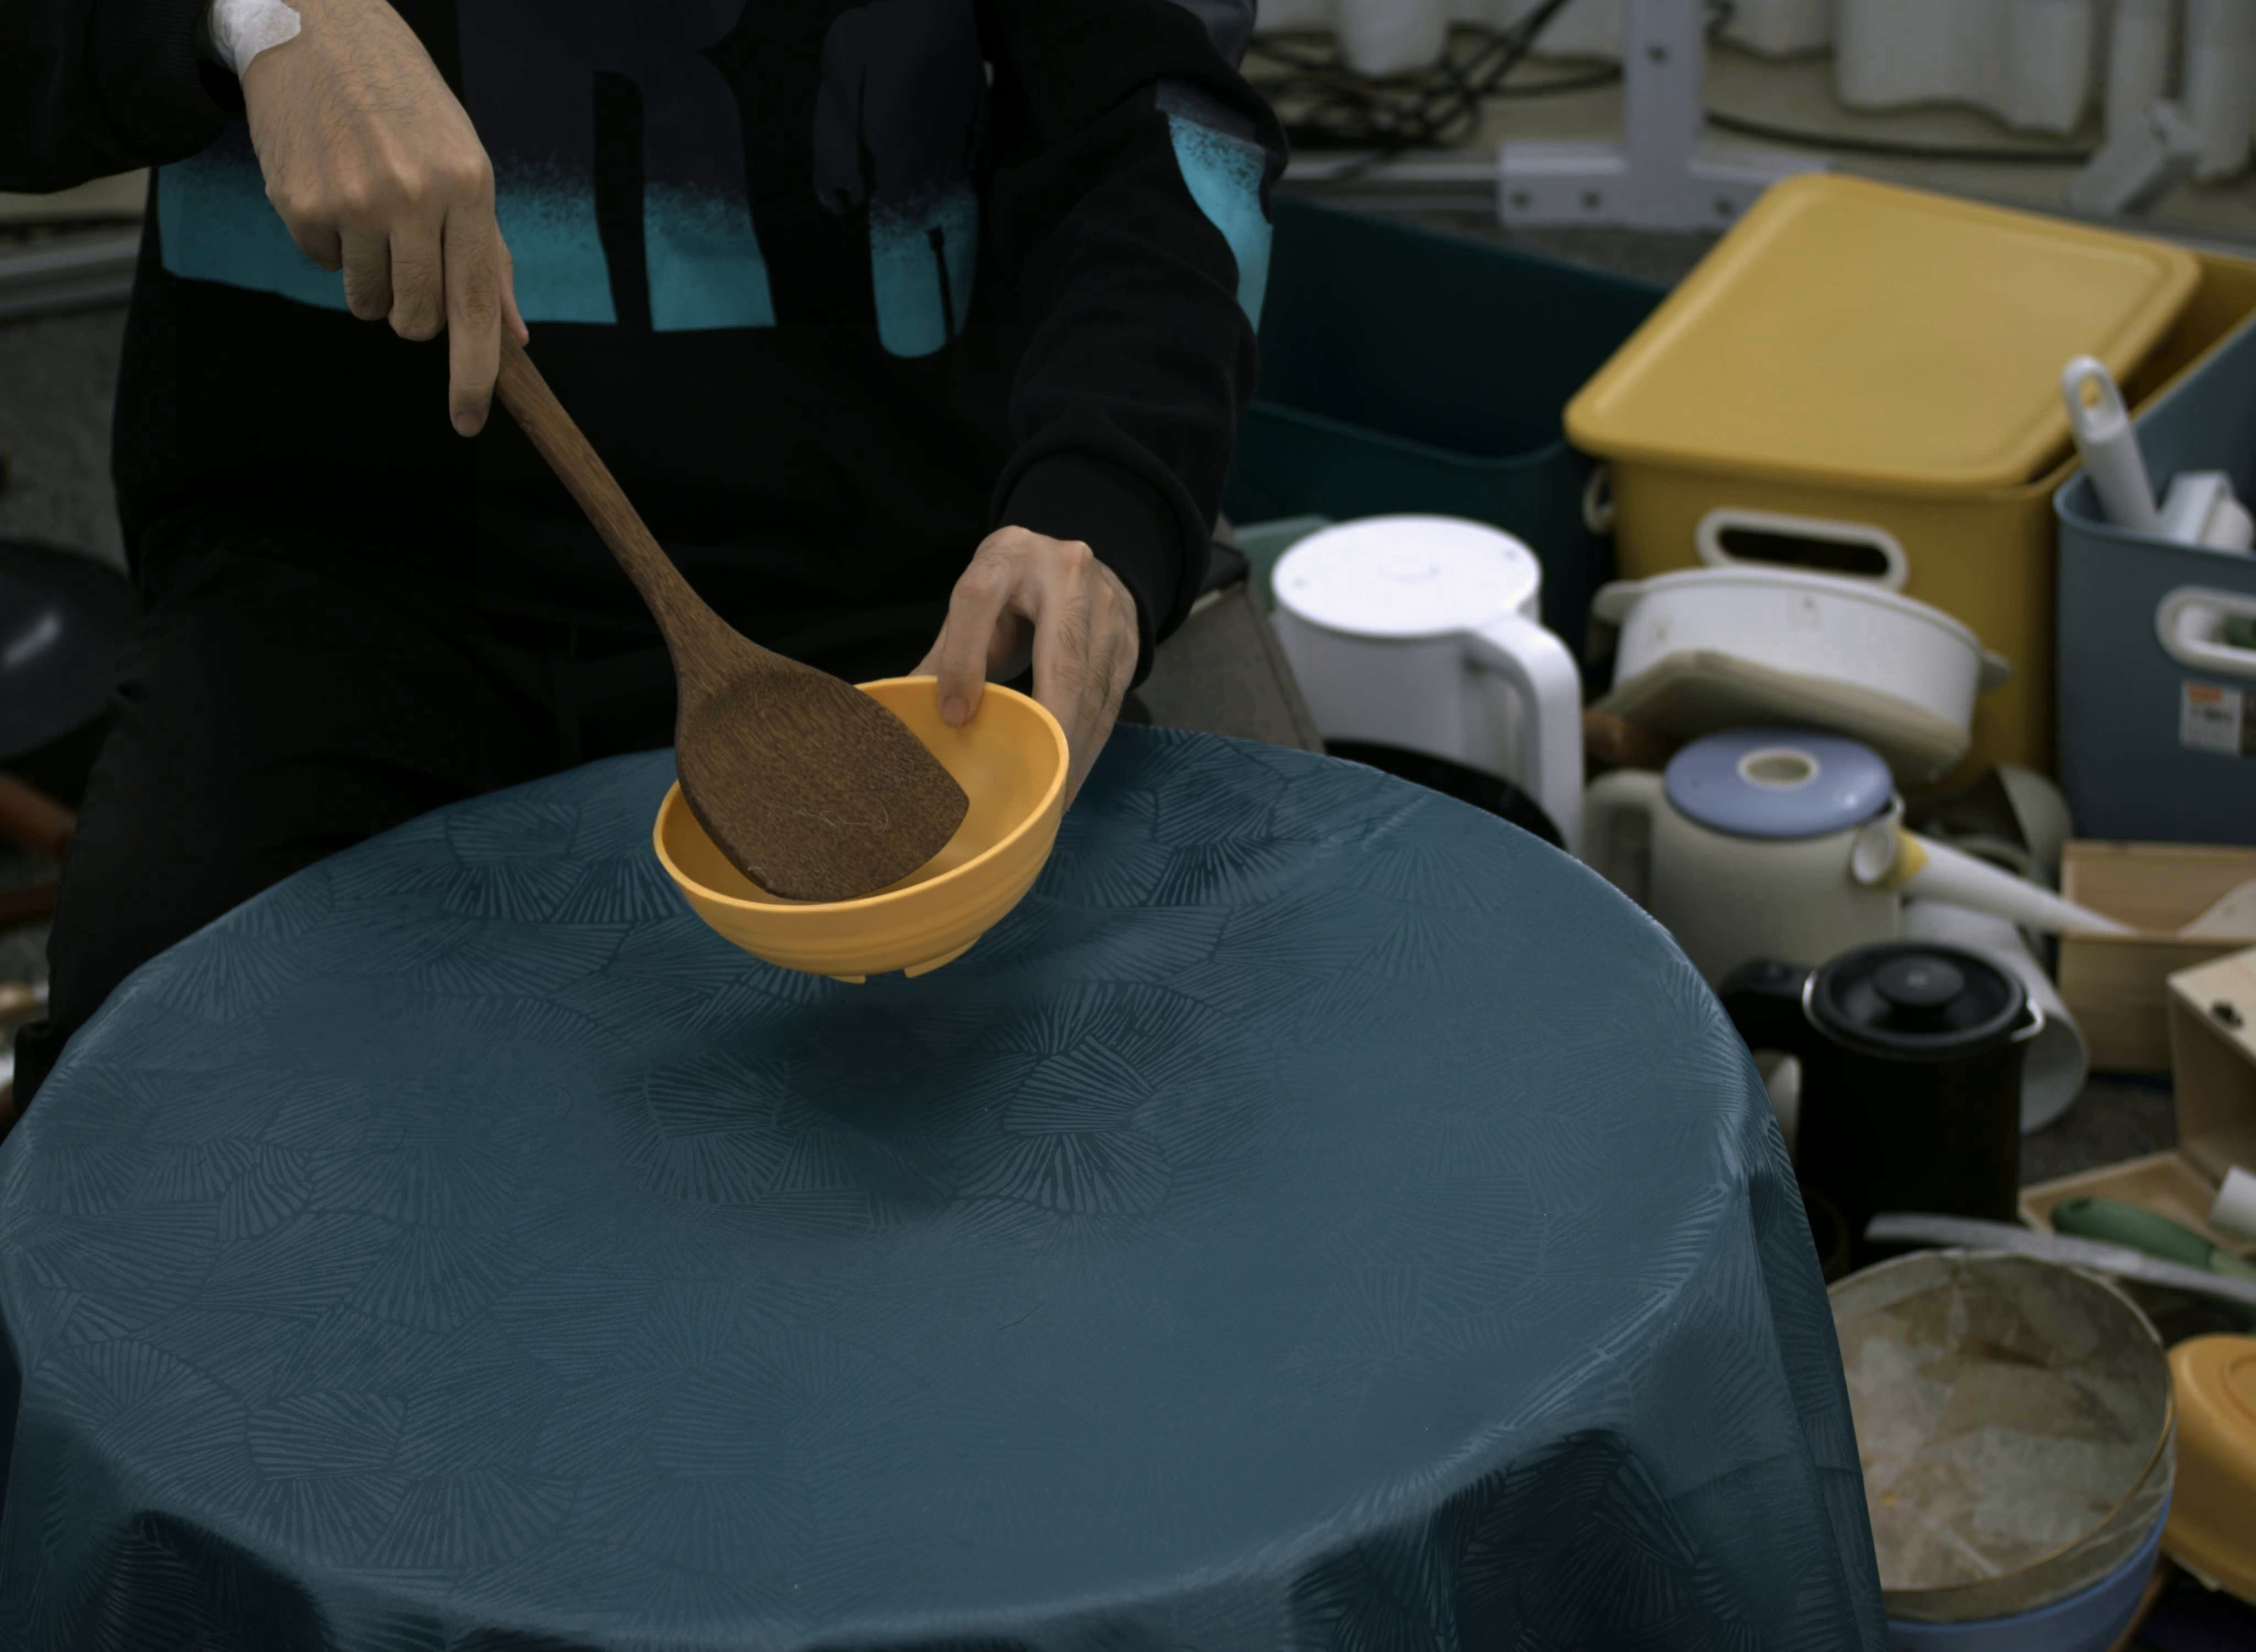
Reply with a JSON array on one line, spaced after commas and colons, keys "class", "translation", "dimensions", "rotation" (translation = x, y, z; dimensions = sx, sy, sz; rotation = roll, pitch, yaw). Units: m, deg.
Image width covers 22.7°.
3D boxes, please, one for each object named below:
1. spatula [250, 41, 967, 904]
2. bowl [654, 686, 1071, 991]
[{"class": "spatula", "translation": [-0.193, -0.129, 1.950], "dimensions": [0.097, 0.015, 0.388], "rotation": [-25, 71, -39]}, {"class": "bowl", "translation": [-0.086, 0.014, 1.923], "dimensions": [0.144, 0.059, 0.148], "rotation": [-7, 30, 5]}]
